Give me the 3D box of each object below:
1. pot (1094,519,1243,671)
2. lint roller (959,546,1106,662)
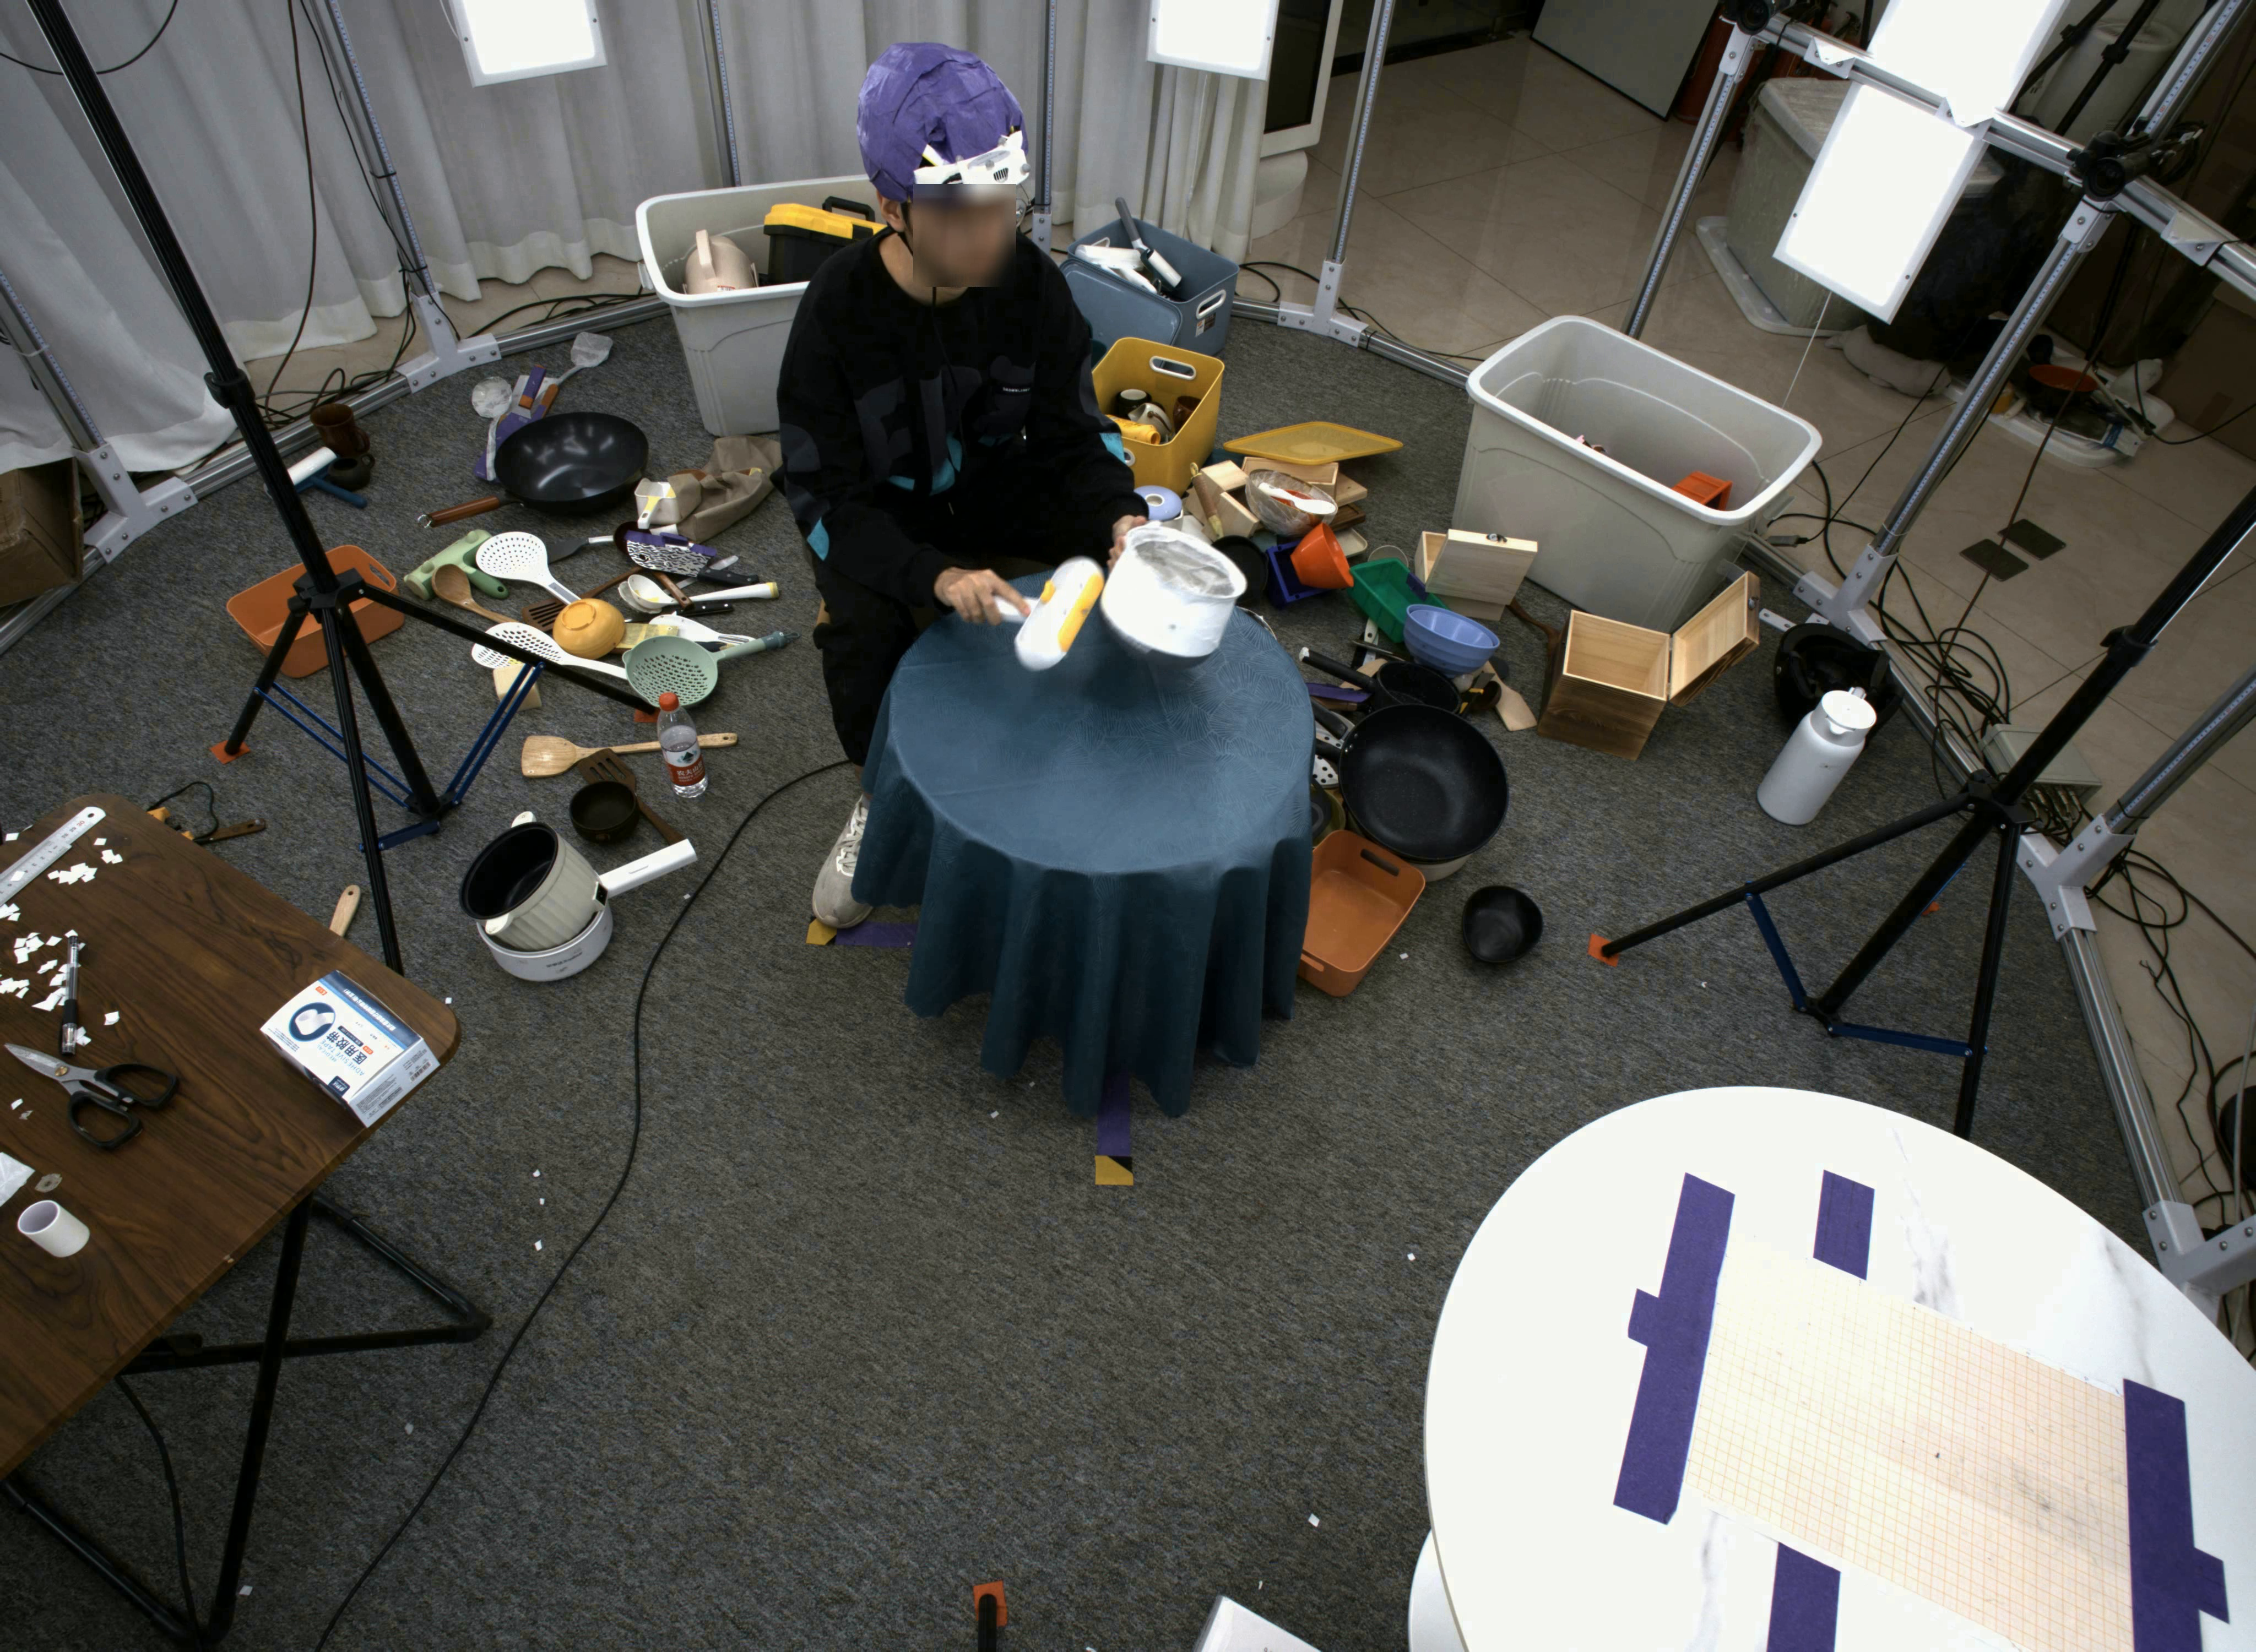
[{"bbox_3d":[0.040,-0.329,1.788,0.178,0.134,0.239,2,41,-32],"label":"pot"},{"bbox_3d":[-0.140,-0.305,1.773,0.193,0.072,0.197,-3,52,29],"label":"lint roller"}]
